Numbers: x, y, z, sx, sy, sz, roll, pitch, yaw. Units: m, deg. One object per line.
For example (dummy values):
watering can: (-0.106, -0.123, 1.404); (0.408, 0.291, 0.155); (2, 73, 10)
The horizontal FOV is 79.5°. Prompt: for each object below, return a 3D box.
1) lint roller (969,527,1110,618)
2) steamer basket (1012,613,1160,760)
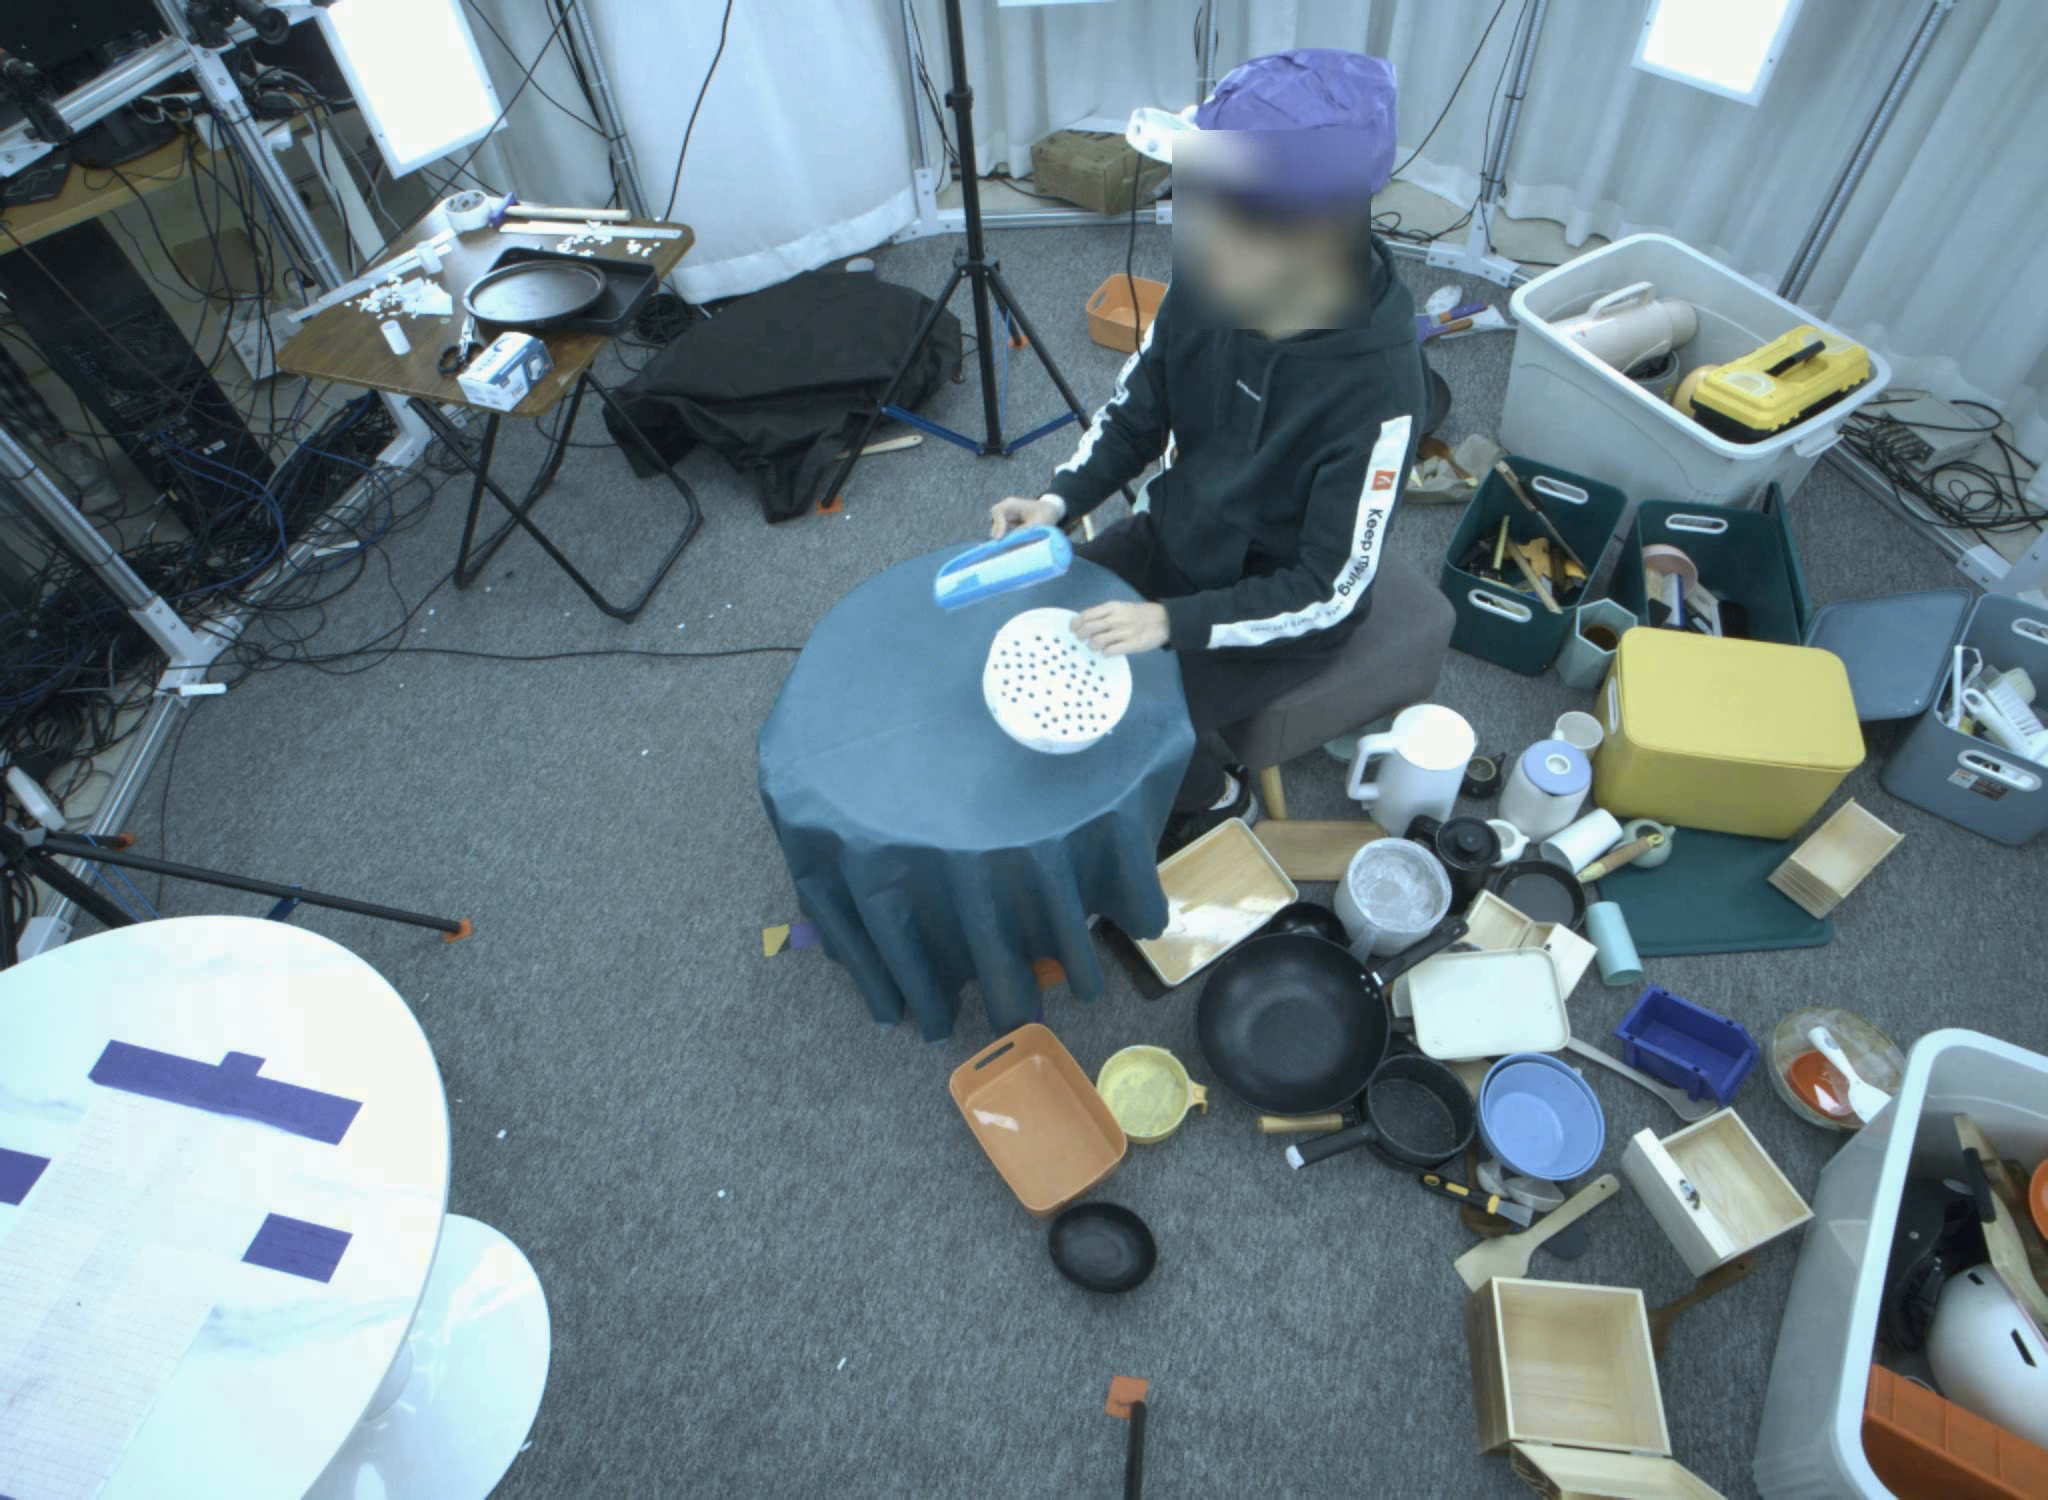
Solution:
lint roller: (0.032, -0.277, 1.768); (0.226, 0.069, 0.179); (-19, 30, 28)
steamer basket: (0.081, -0.084, 1.672); (0.202, 0.069, 0.232); (44, 61, 0)
